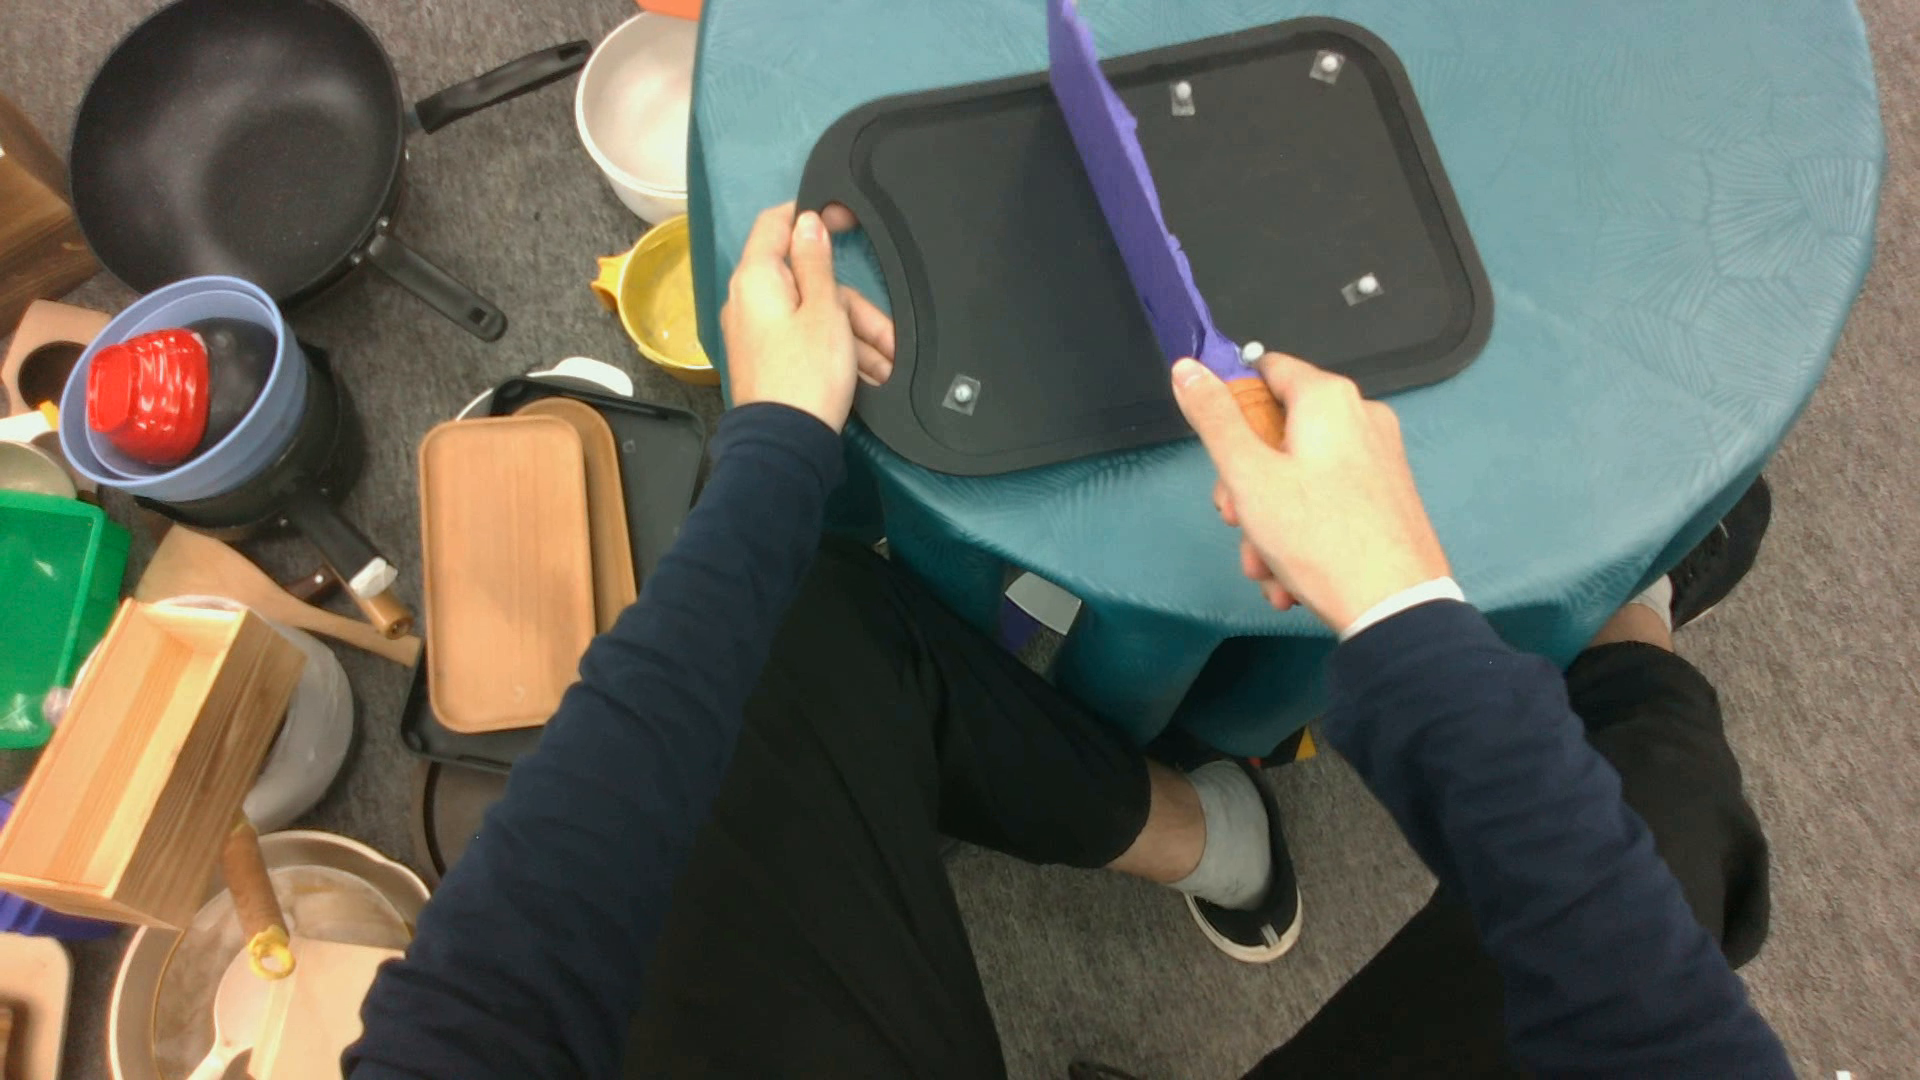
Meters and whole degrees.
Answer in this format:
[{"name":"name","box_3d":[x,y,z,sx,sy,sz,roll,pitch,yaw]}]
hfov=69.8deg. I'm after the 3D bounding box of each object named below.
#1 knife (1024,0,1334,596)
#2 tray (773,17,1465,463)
[{"name":"knife","box_3d":[0.086,-0.116,0.605,0.032,0.103,0.316,-18,72,0]},{"name":"tray","box_3d":[0.074,-0.151,0.667,0.326,0.010,0.211,-12,72,-9]}]
